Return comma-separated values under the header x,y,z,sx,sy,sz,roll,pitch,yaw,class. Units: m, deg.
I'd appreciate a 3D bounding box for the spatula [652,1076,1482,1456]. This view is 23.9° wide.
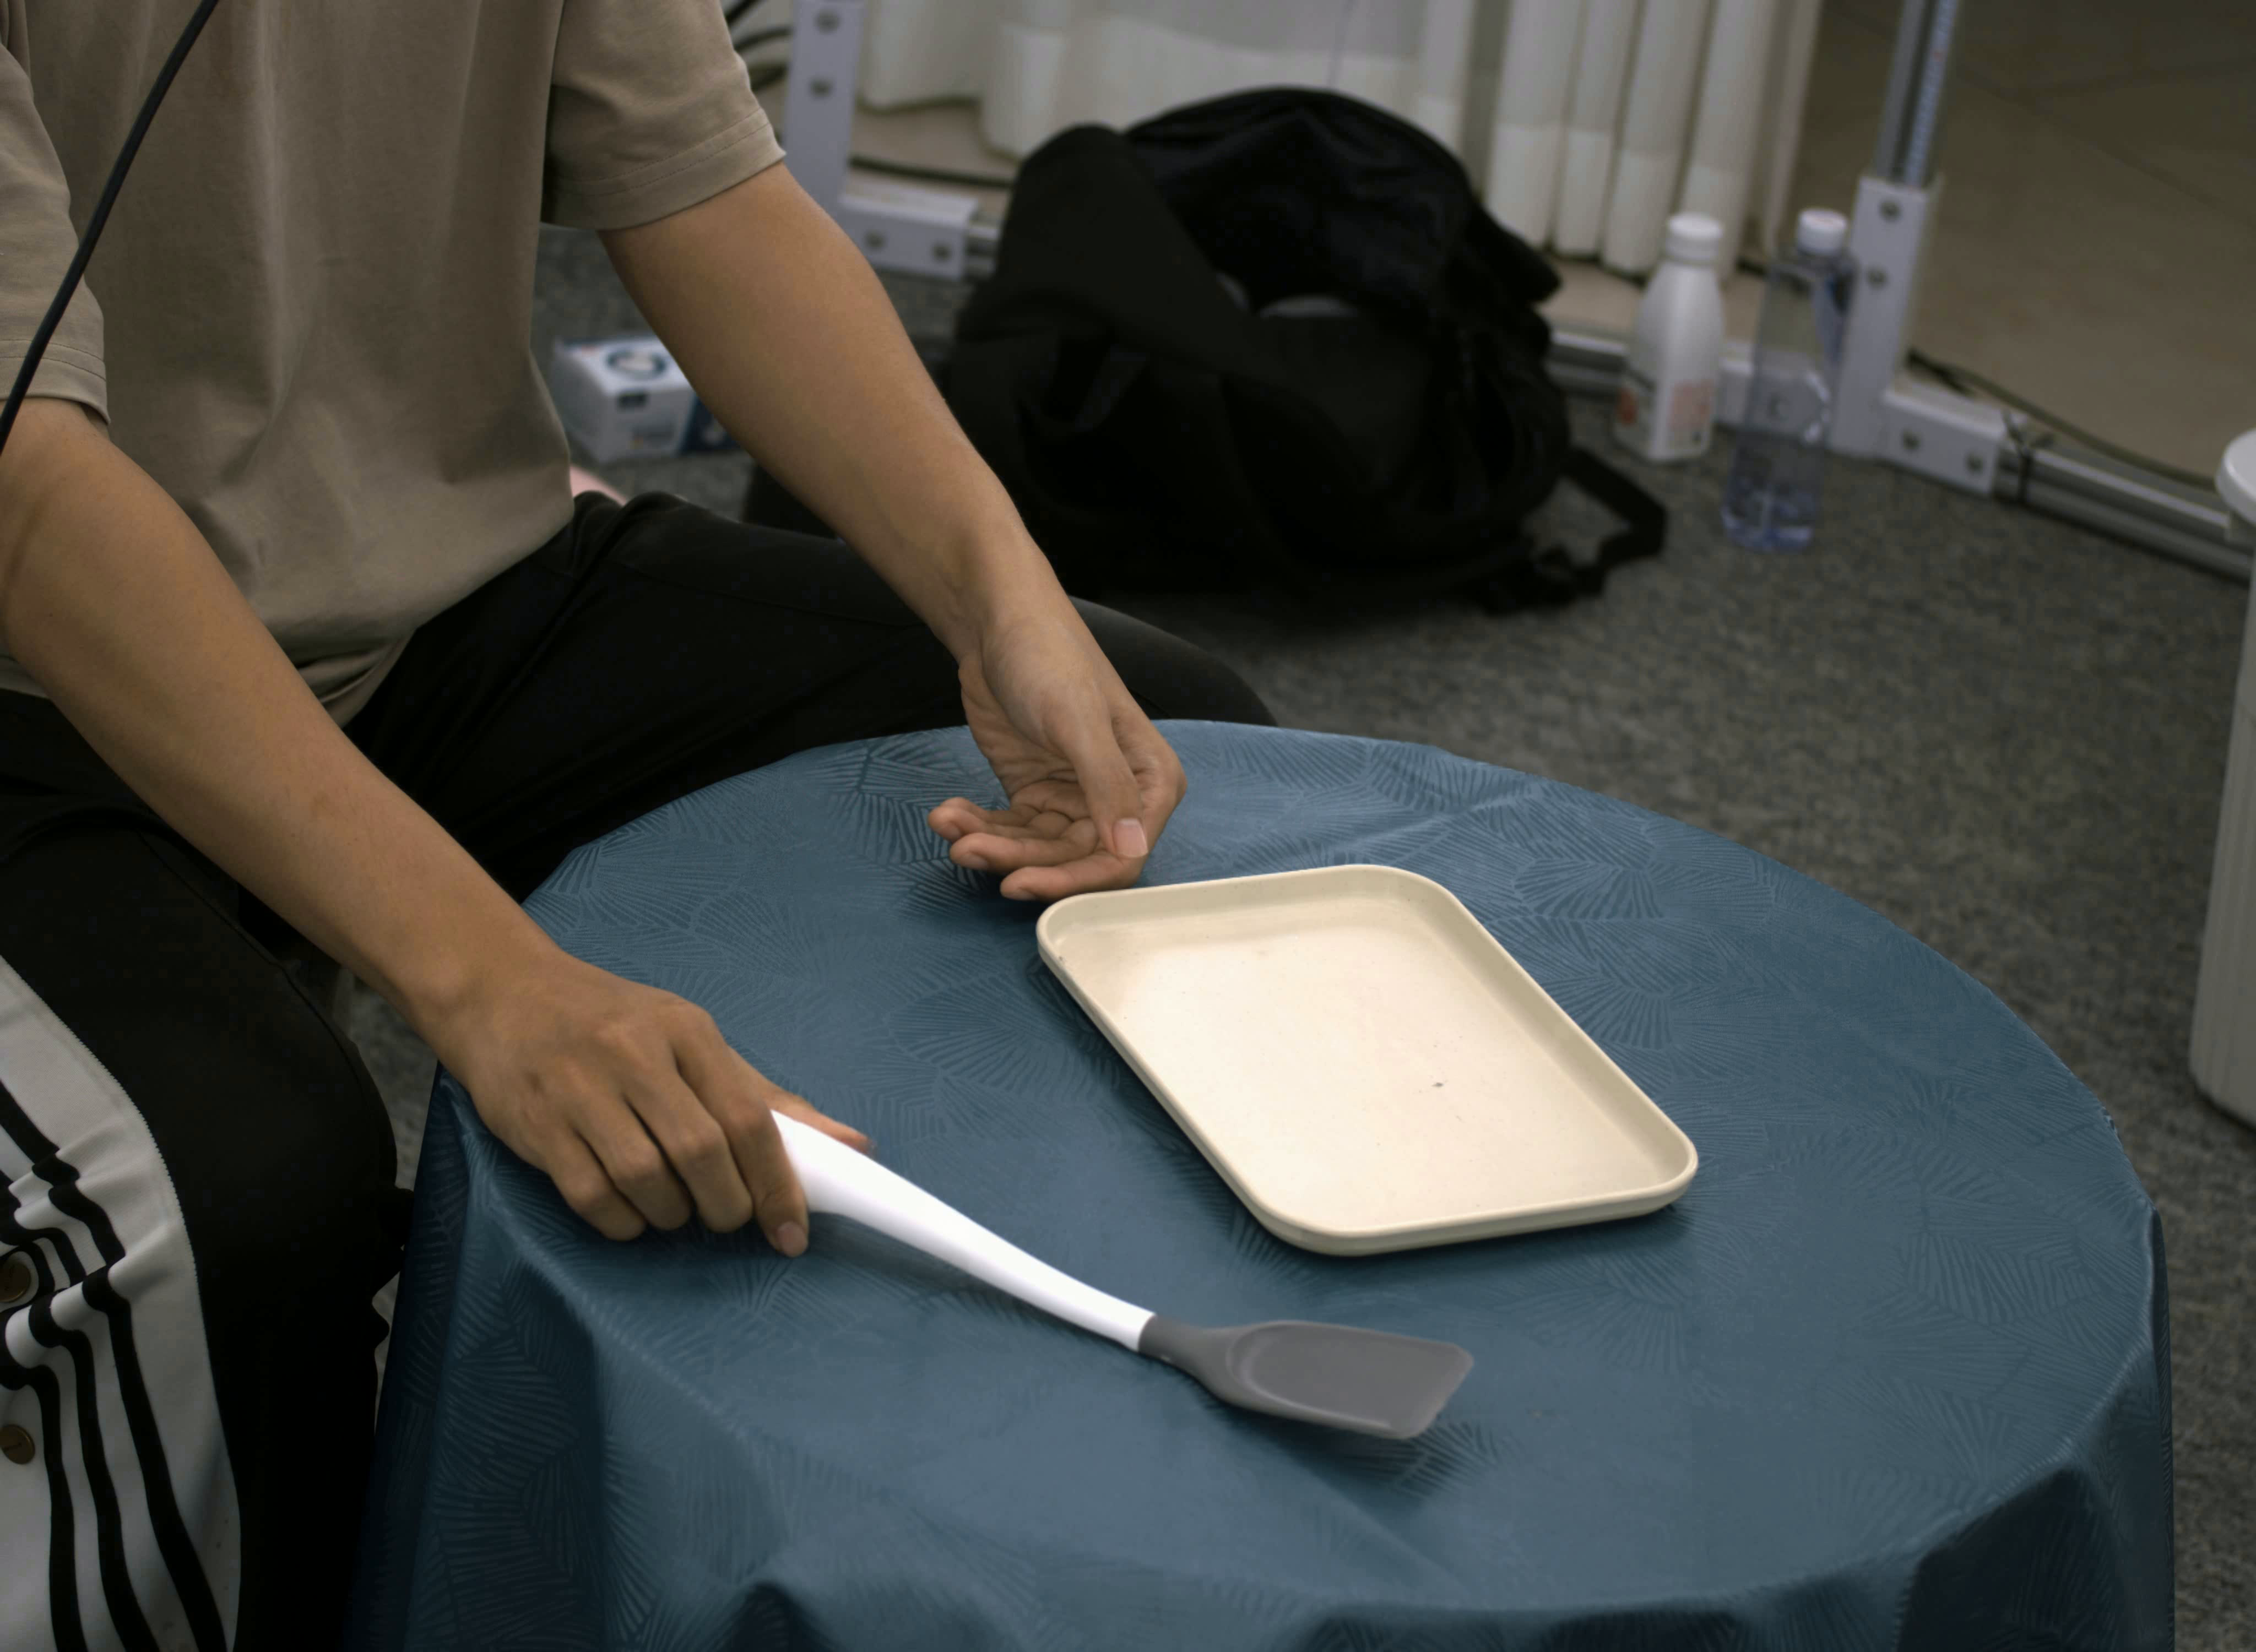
x,y,z,sx,sy,sz,roll,pitch,yaw,class
-0.024,0.144,1.719,0.288,0.032,0.058,20,32,20,spatula

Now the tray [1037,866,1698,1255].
x,y,z,sx,sy,sz,roll,pitch,yaw,class
0.081,0.082,1.886,0.170,0.017,0.242,-5,29,-24,tray
